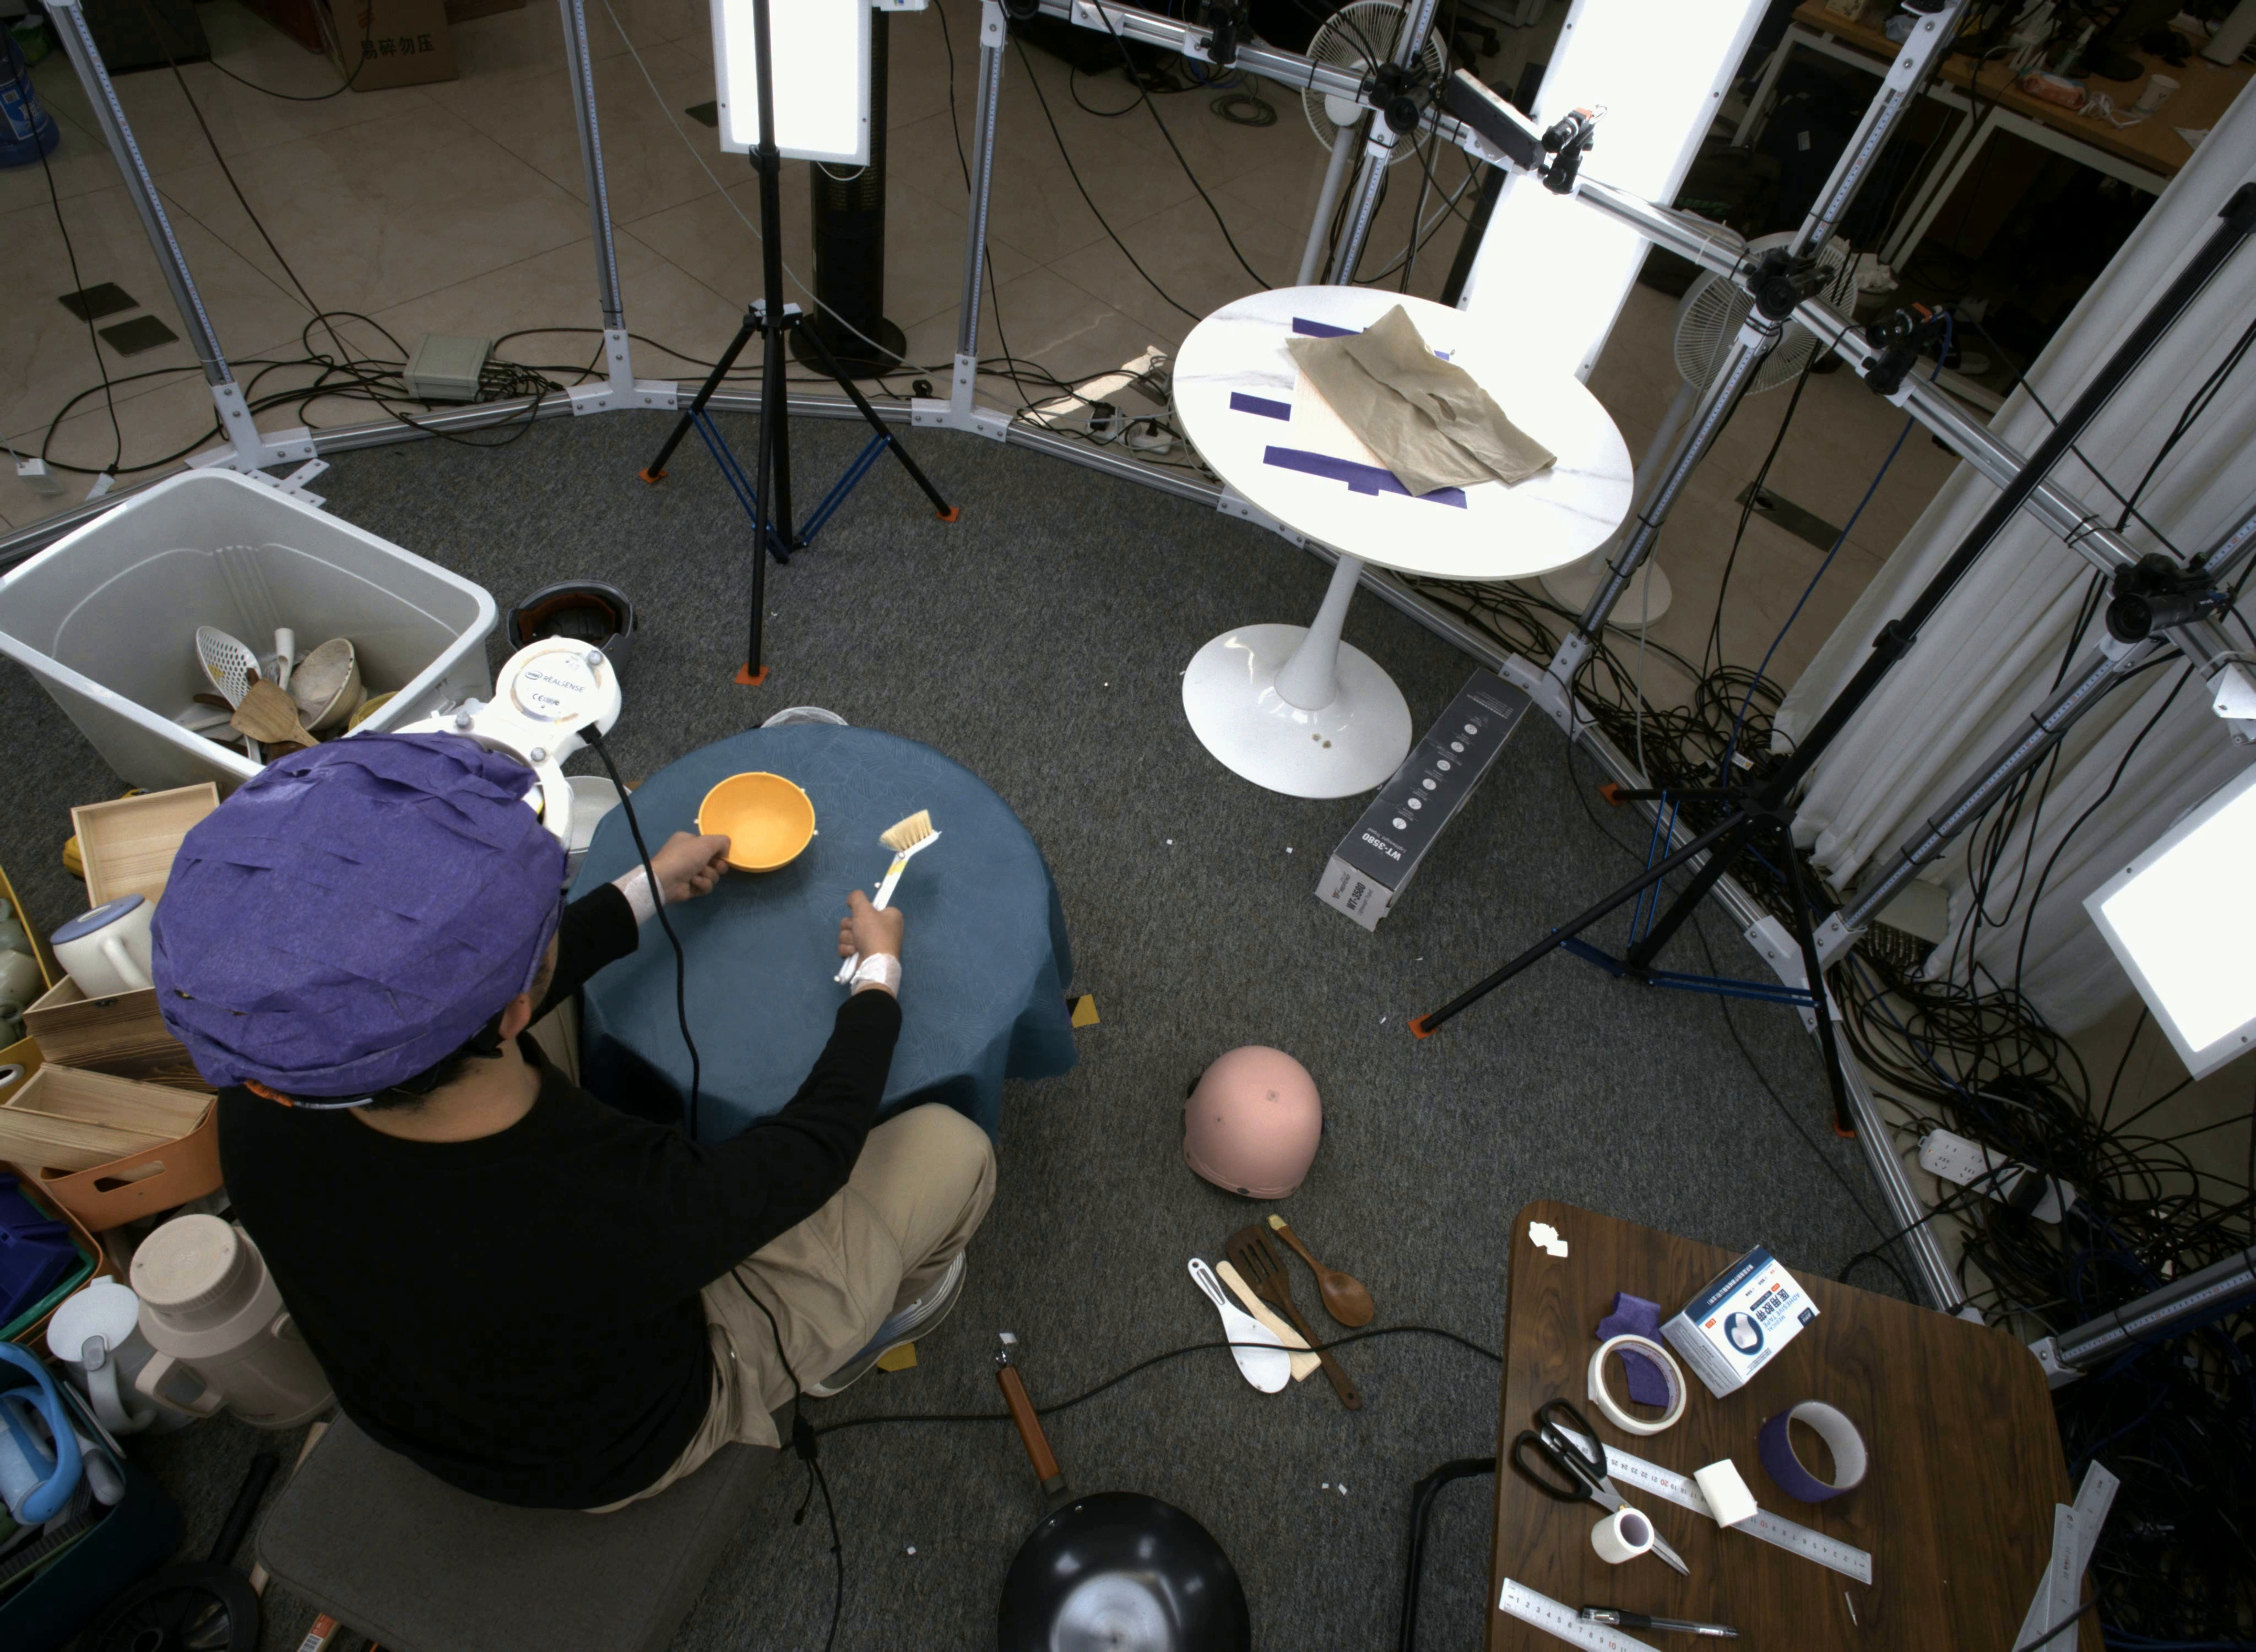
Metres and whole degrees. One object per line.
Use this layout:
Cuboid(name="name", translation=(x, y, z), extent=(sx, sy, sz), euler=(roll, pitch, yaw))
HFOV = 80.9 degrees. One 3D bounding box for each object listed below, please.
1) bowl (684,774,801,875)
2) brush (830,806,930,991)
Cuboid(name="bowl", translation=(-0.491, 0.008, 1.654), extent=(0.145, 0.061, 0.143), euler=(8, 57, -11))
Cuboid(name="brush", translation=(-0.318, 0.077, 1.582), extent=(0.057, 0.067, 0.264), euler=(42, 48, -22))
